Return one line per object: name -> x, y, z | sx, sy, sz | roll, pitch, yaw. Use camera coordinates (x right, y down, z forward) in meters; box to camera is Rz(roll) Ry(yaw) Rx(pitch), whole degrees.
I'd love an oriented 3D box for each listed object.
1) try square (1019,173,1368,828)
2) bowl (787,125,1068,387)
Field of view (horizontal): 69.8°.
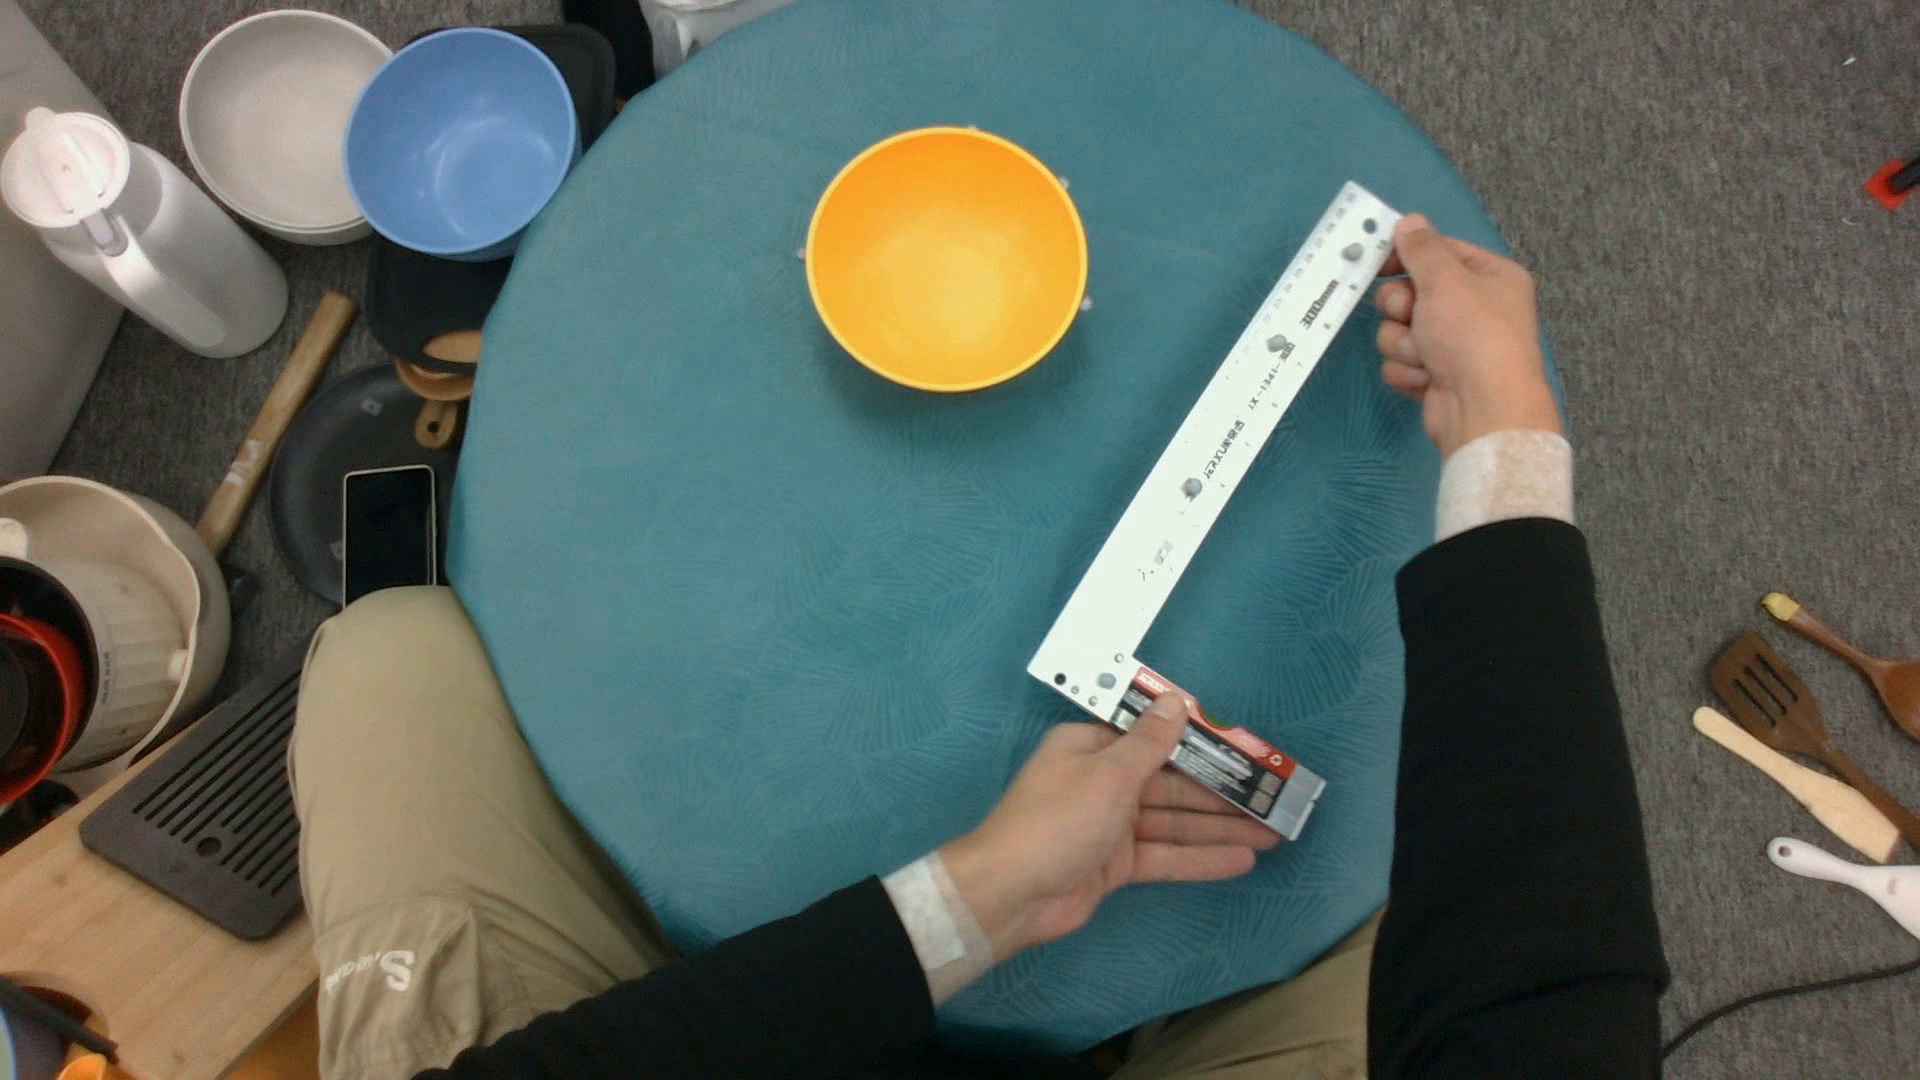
try square -> 0.170, -0.026, 0.707 | 0.152, 0.016, 0.313 | 31, 79, -1
bowl -> -0.017, -0.142, 0.737 | 0.145, 0.060, 0.145 | 0, 78, -1
